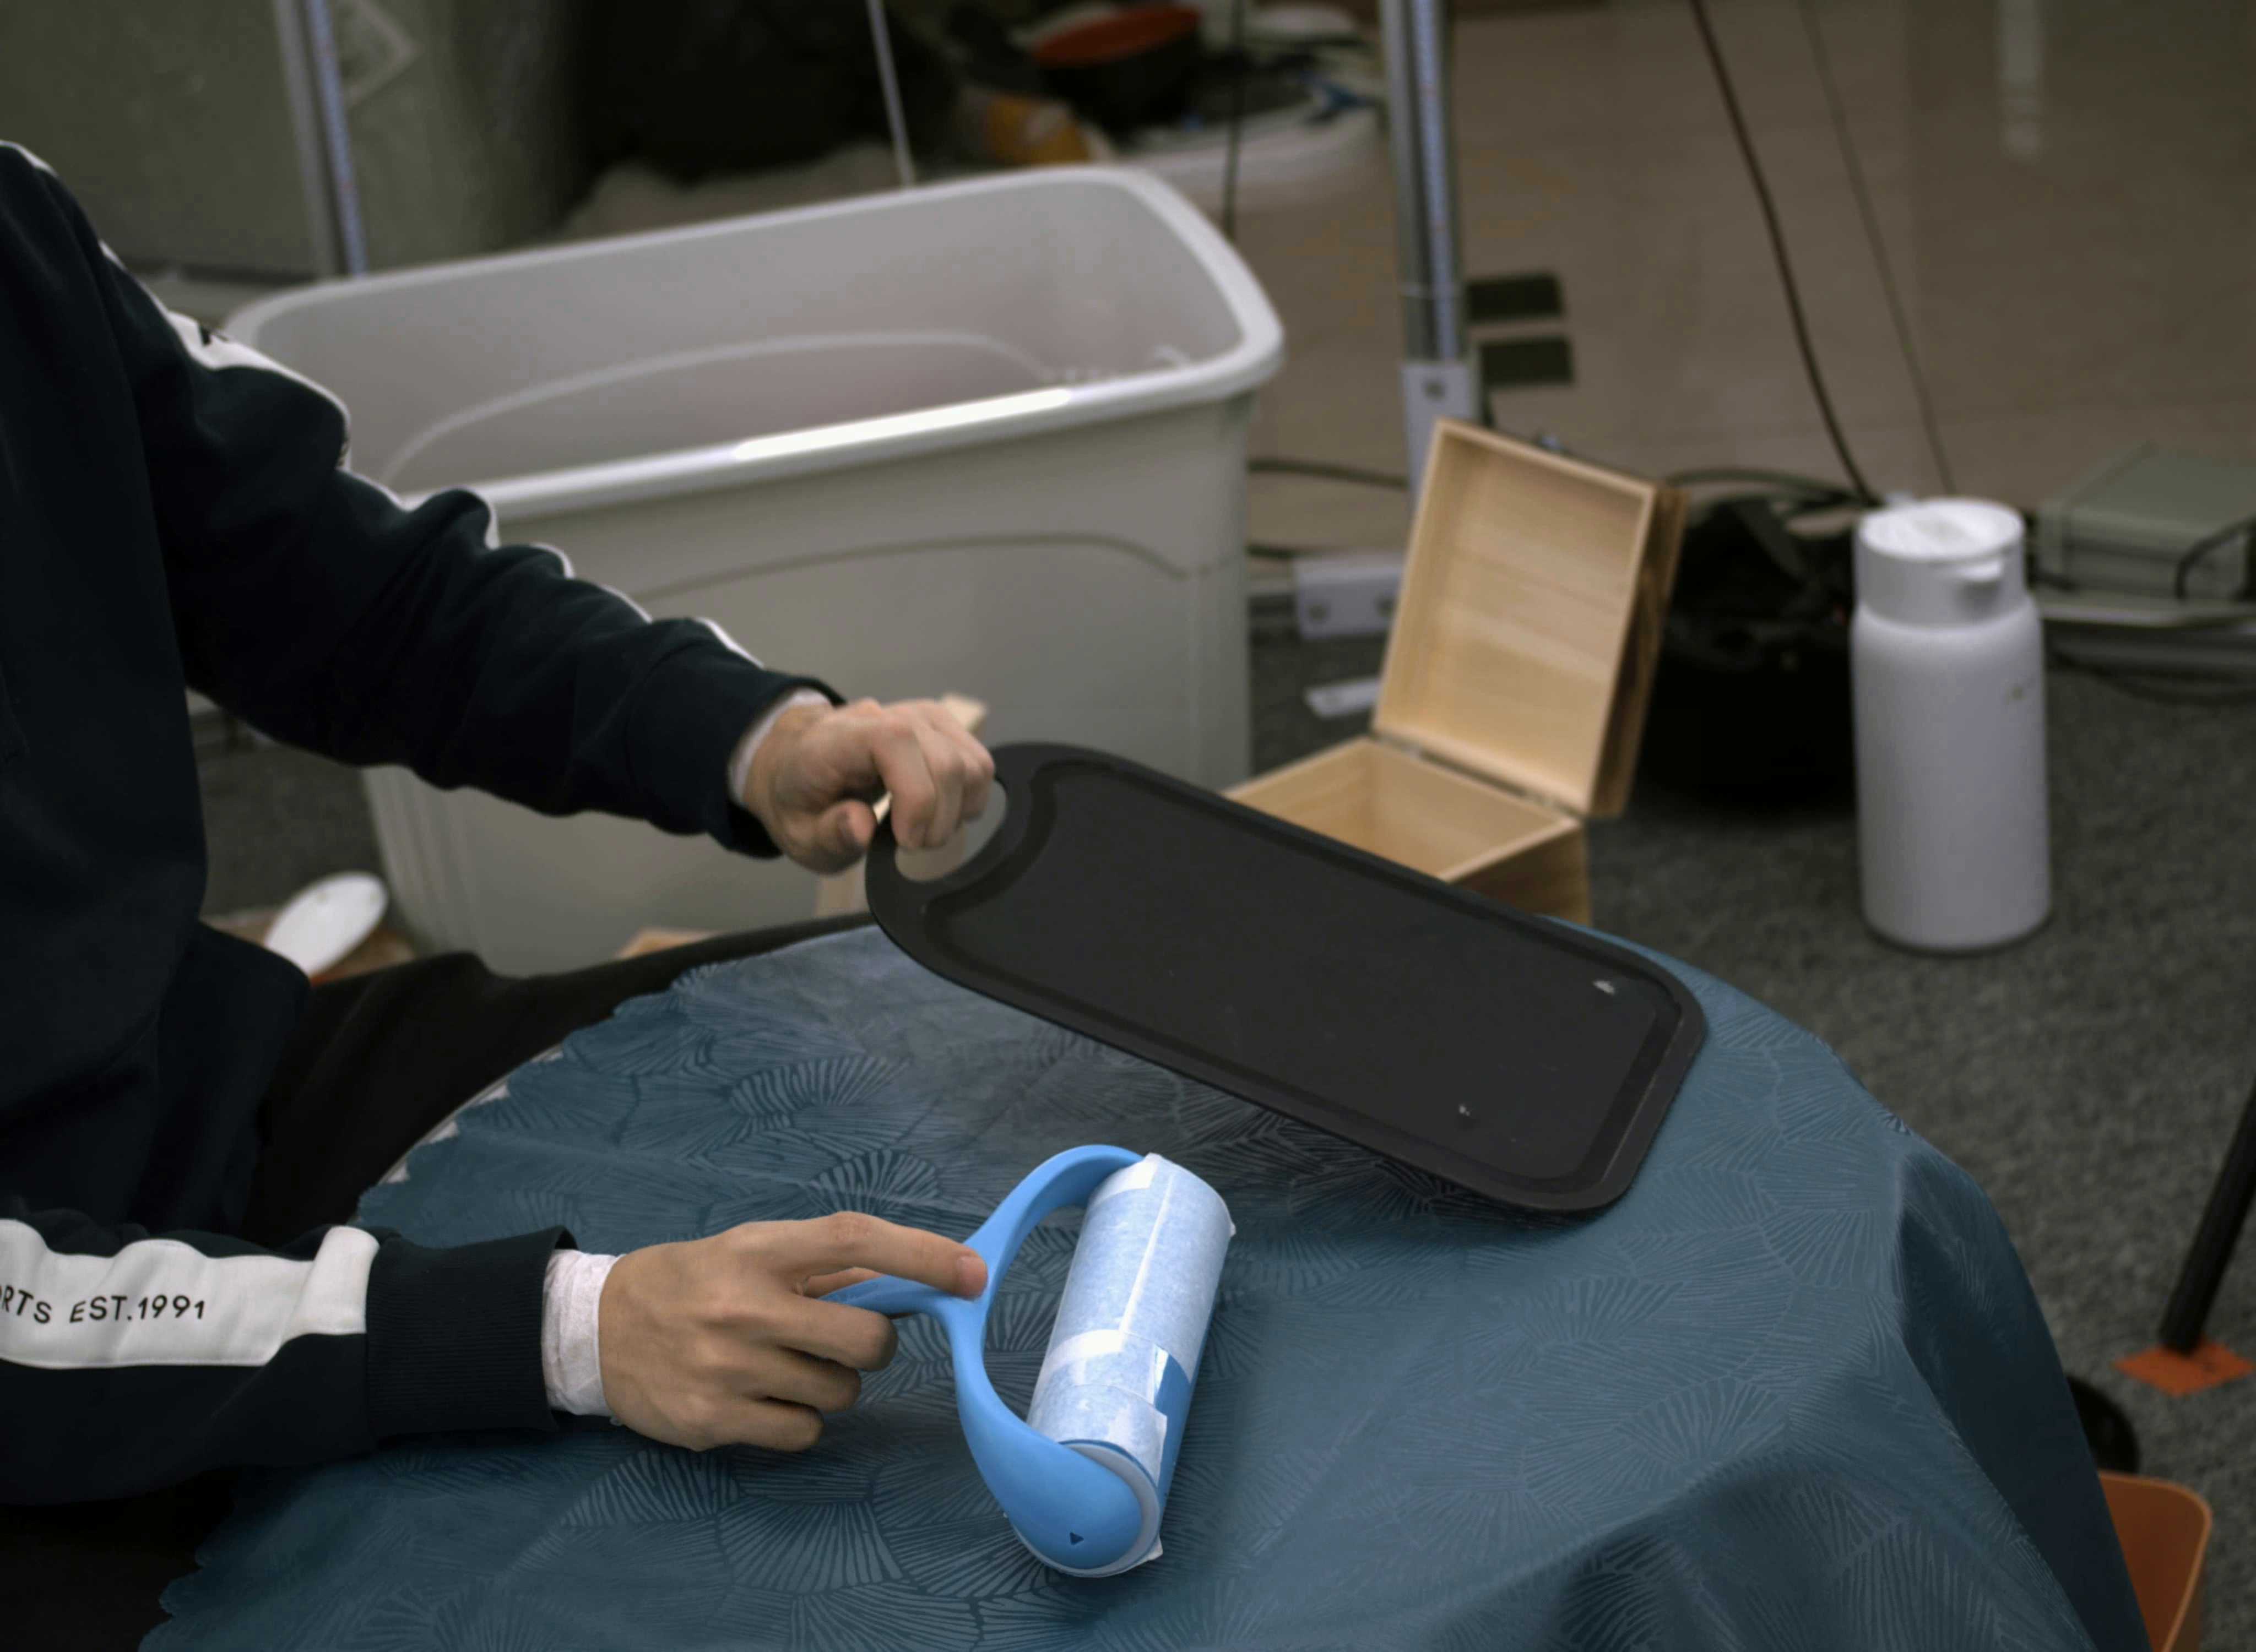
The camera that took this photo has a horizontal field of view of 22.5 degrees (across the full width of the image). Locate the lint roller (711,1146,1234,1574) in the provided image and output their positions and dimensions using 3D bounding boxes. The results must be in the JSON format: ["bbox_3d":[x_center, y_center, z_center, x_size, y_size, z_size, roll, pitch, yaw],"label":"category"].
[{"bbox_3d":[-0.060,0.185,1.985,0.180,0.069,0.225,0,28,6],"label":"lint roller"}]

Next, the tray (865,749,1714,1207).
[{"bbox_3d":[0.058,0.051,2.180,0.324,0.010,0.208,21,30,10],"label":"tray"}]
